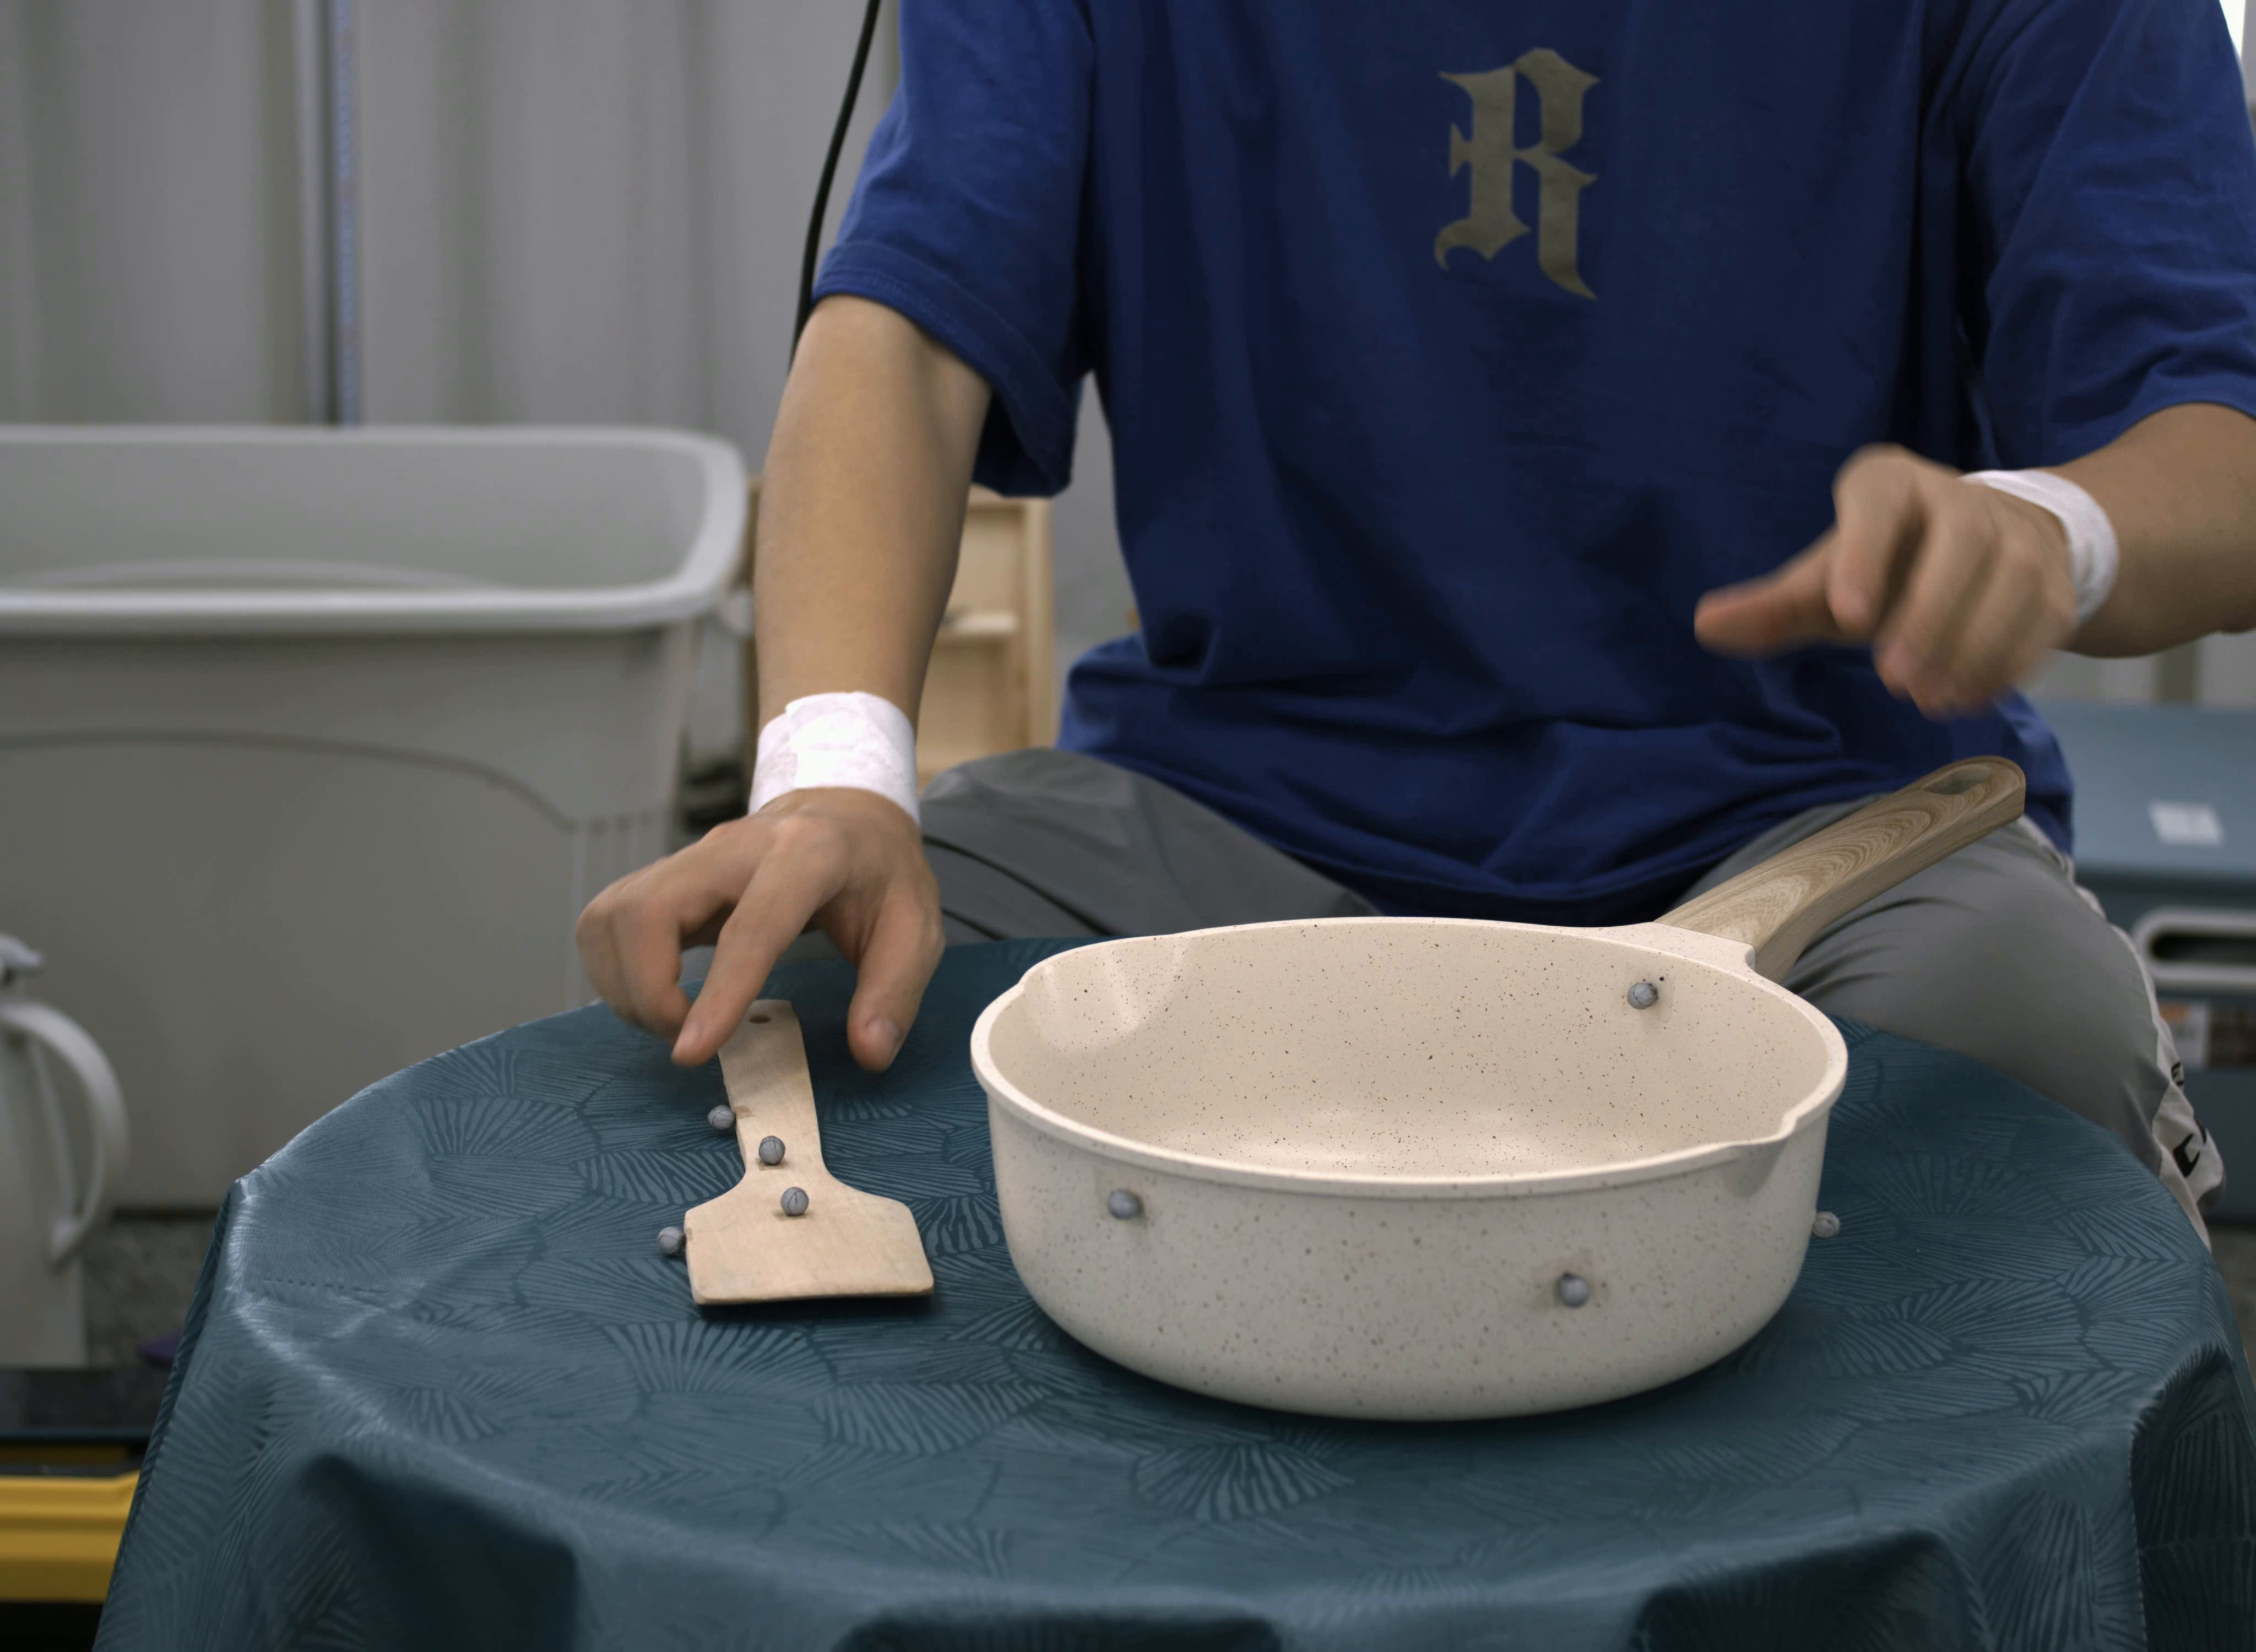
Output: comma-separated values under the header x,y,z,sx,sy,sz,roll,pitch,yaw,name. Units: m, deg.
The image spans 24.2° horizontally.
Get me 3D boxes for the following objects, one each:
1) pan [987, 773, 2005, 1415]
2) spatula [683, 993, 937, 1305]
x,y,z,sx,sy,sz,roll,pitch,yaw,name
0.144,0.074,1.579,0.260,0.103,0.437,11,18,38,pan
-0.108,0.099,1.650,0.072,0.011,0.291,-2,16,-7,spatula
